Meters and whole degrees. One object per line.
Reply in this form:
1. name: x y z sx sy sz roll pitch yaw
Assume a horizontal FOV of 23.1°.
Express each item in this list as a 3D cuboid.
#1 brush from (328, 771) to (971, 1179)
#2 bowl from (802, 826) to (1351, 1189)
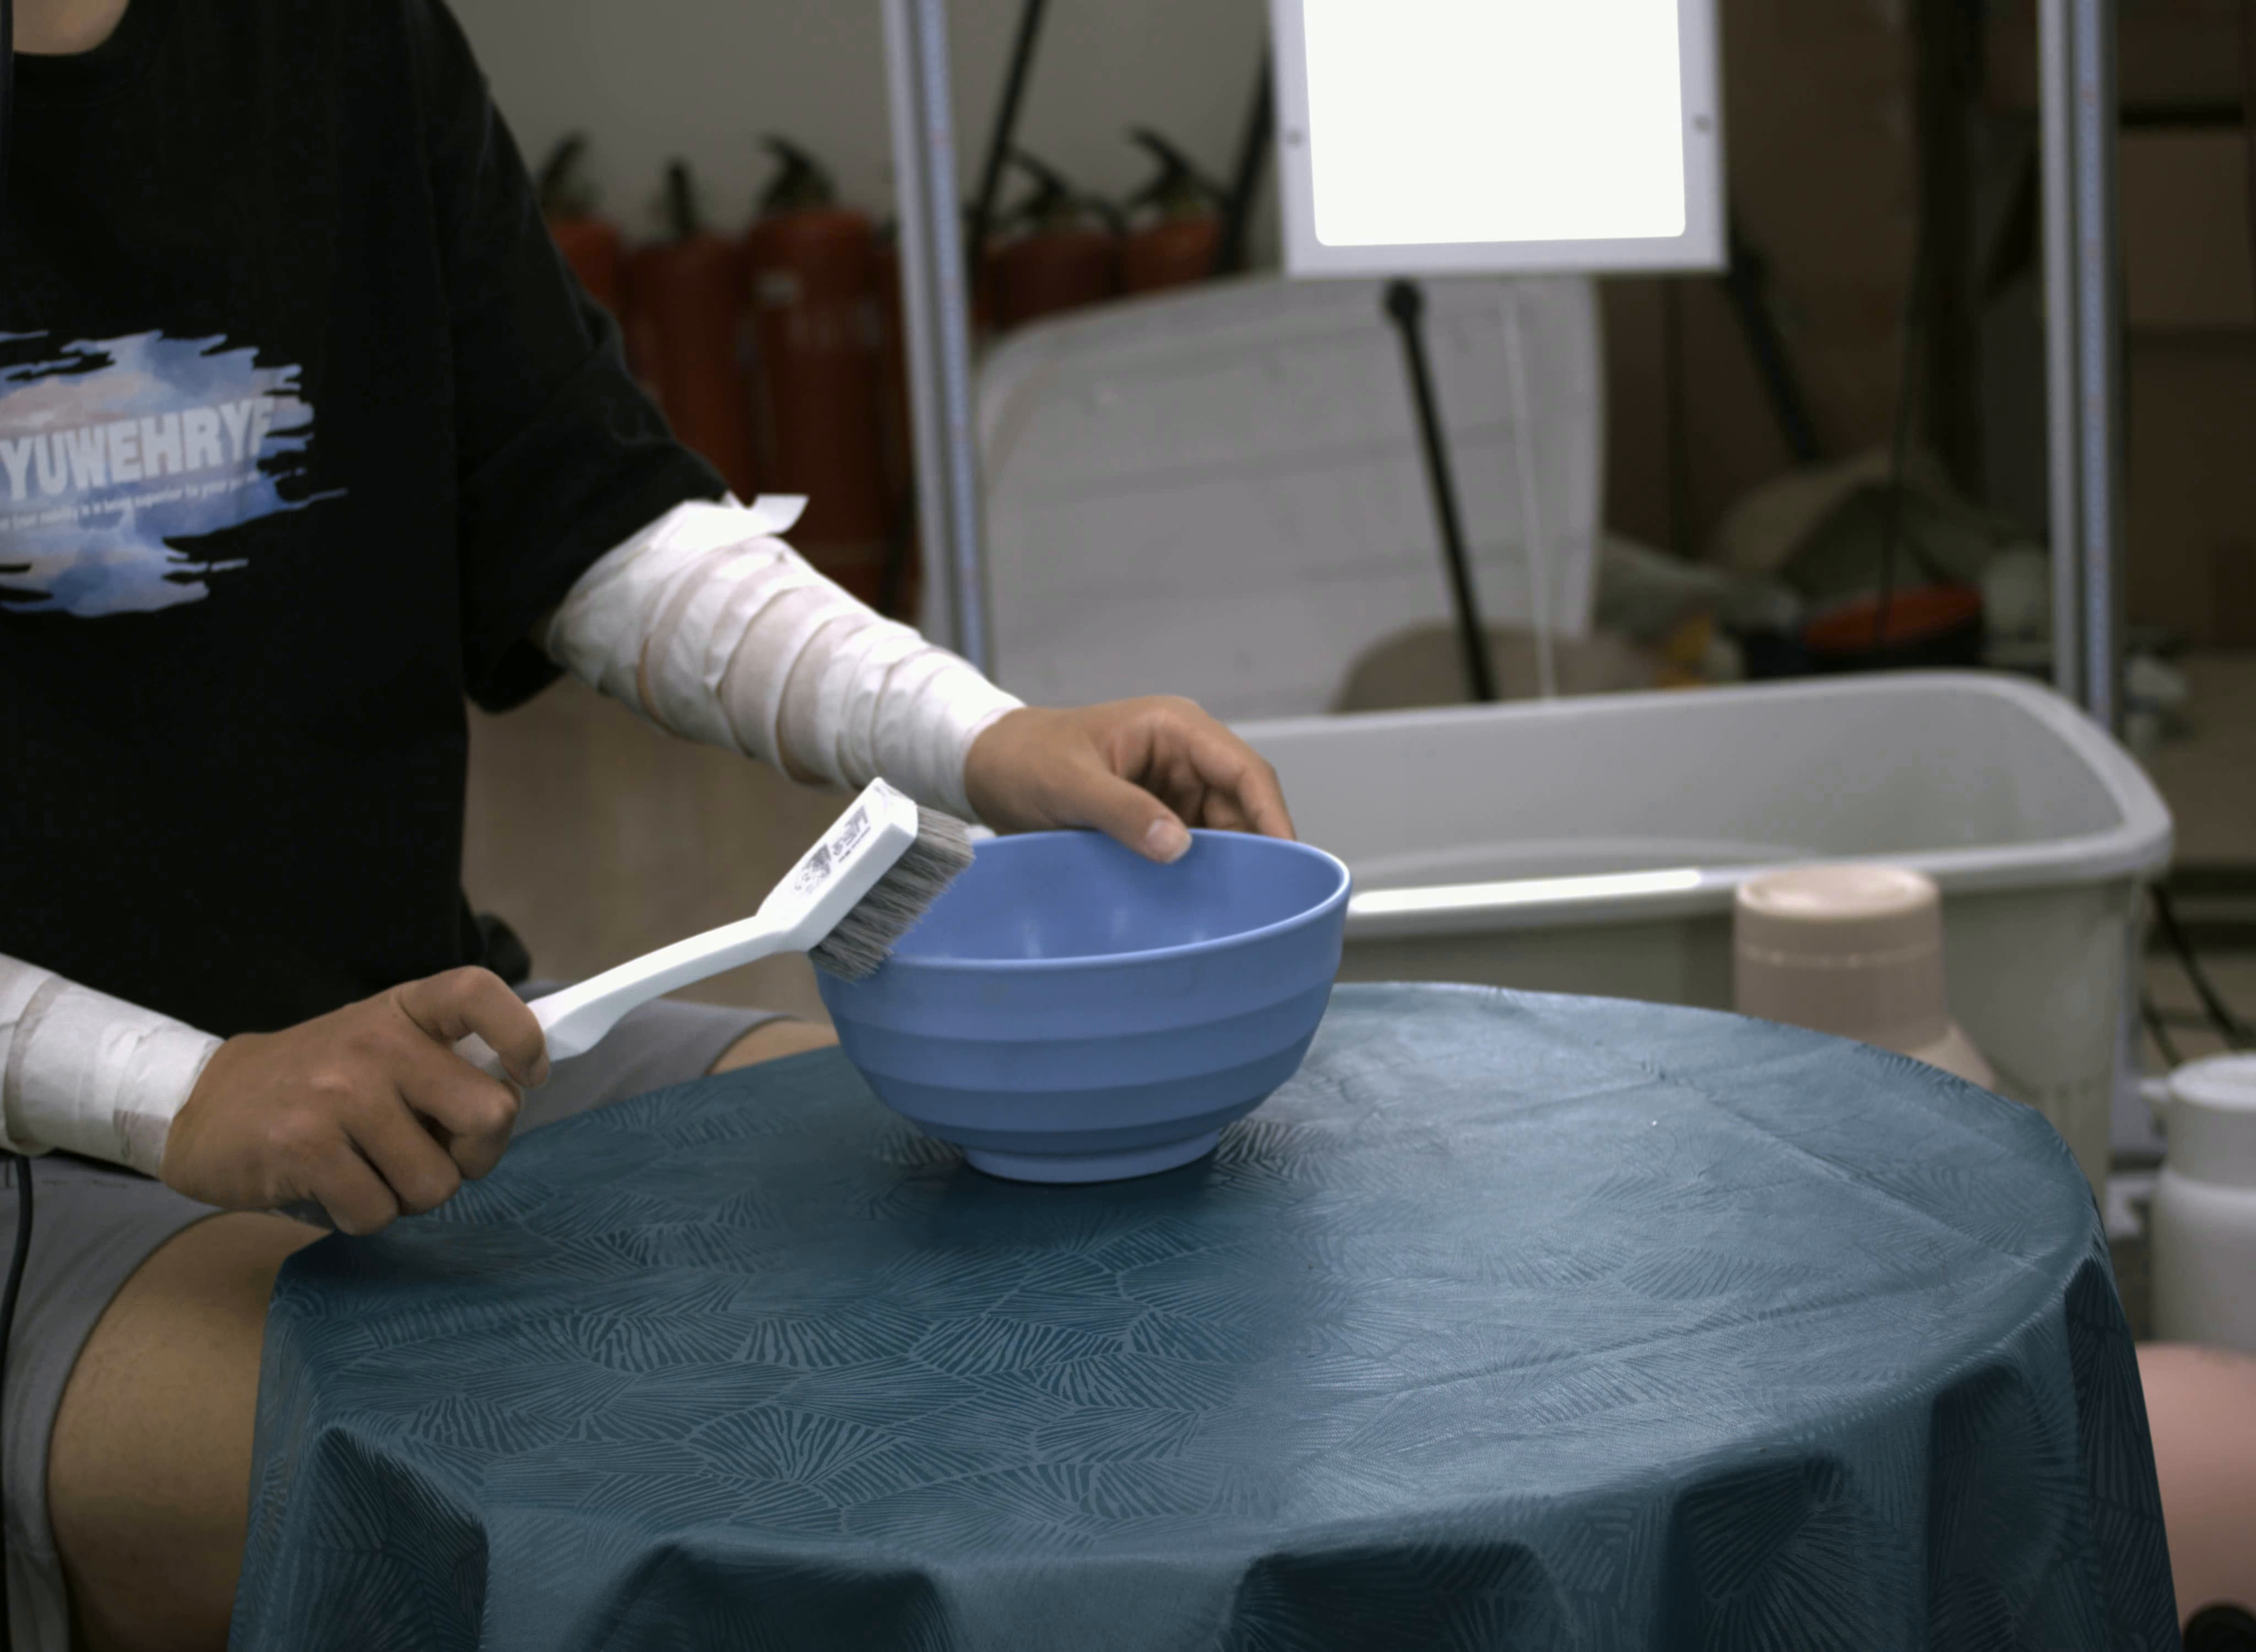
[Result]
1. brush: -0.160 0.063 1.870 0.244 0.050 0.034 -33 30 5
2. bowl: -0.015 0.069 1.943 0.196 0.096 0.196 -6 14 0
